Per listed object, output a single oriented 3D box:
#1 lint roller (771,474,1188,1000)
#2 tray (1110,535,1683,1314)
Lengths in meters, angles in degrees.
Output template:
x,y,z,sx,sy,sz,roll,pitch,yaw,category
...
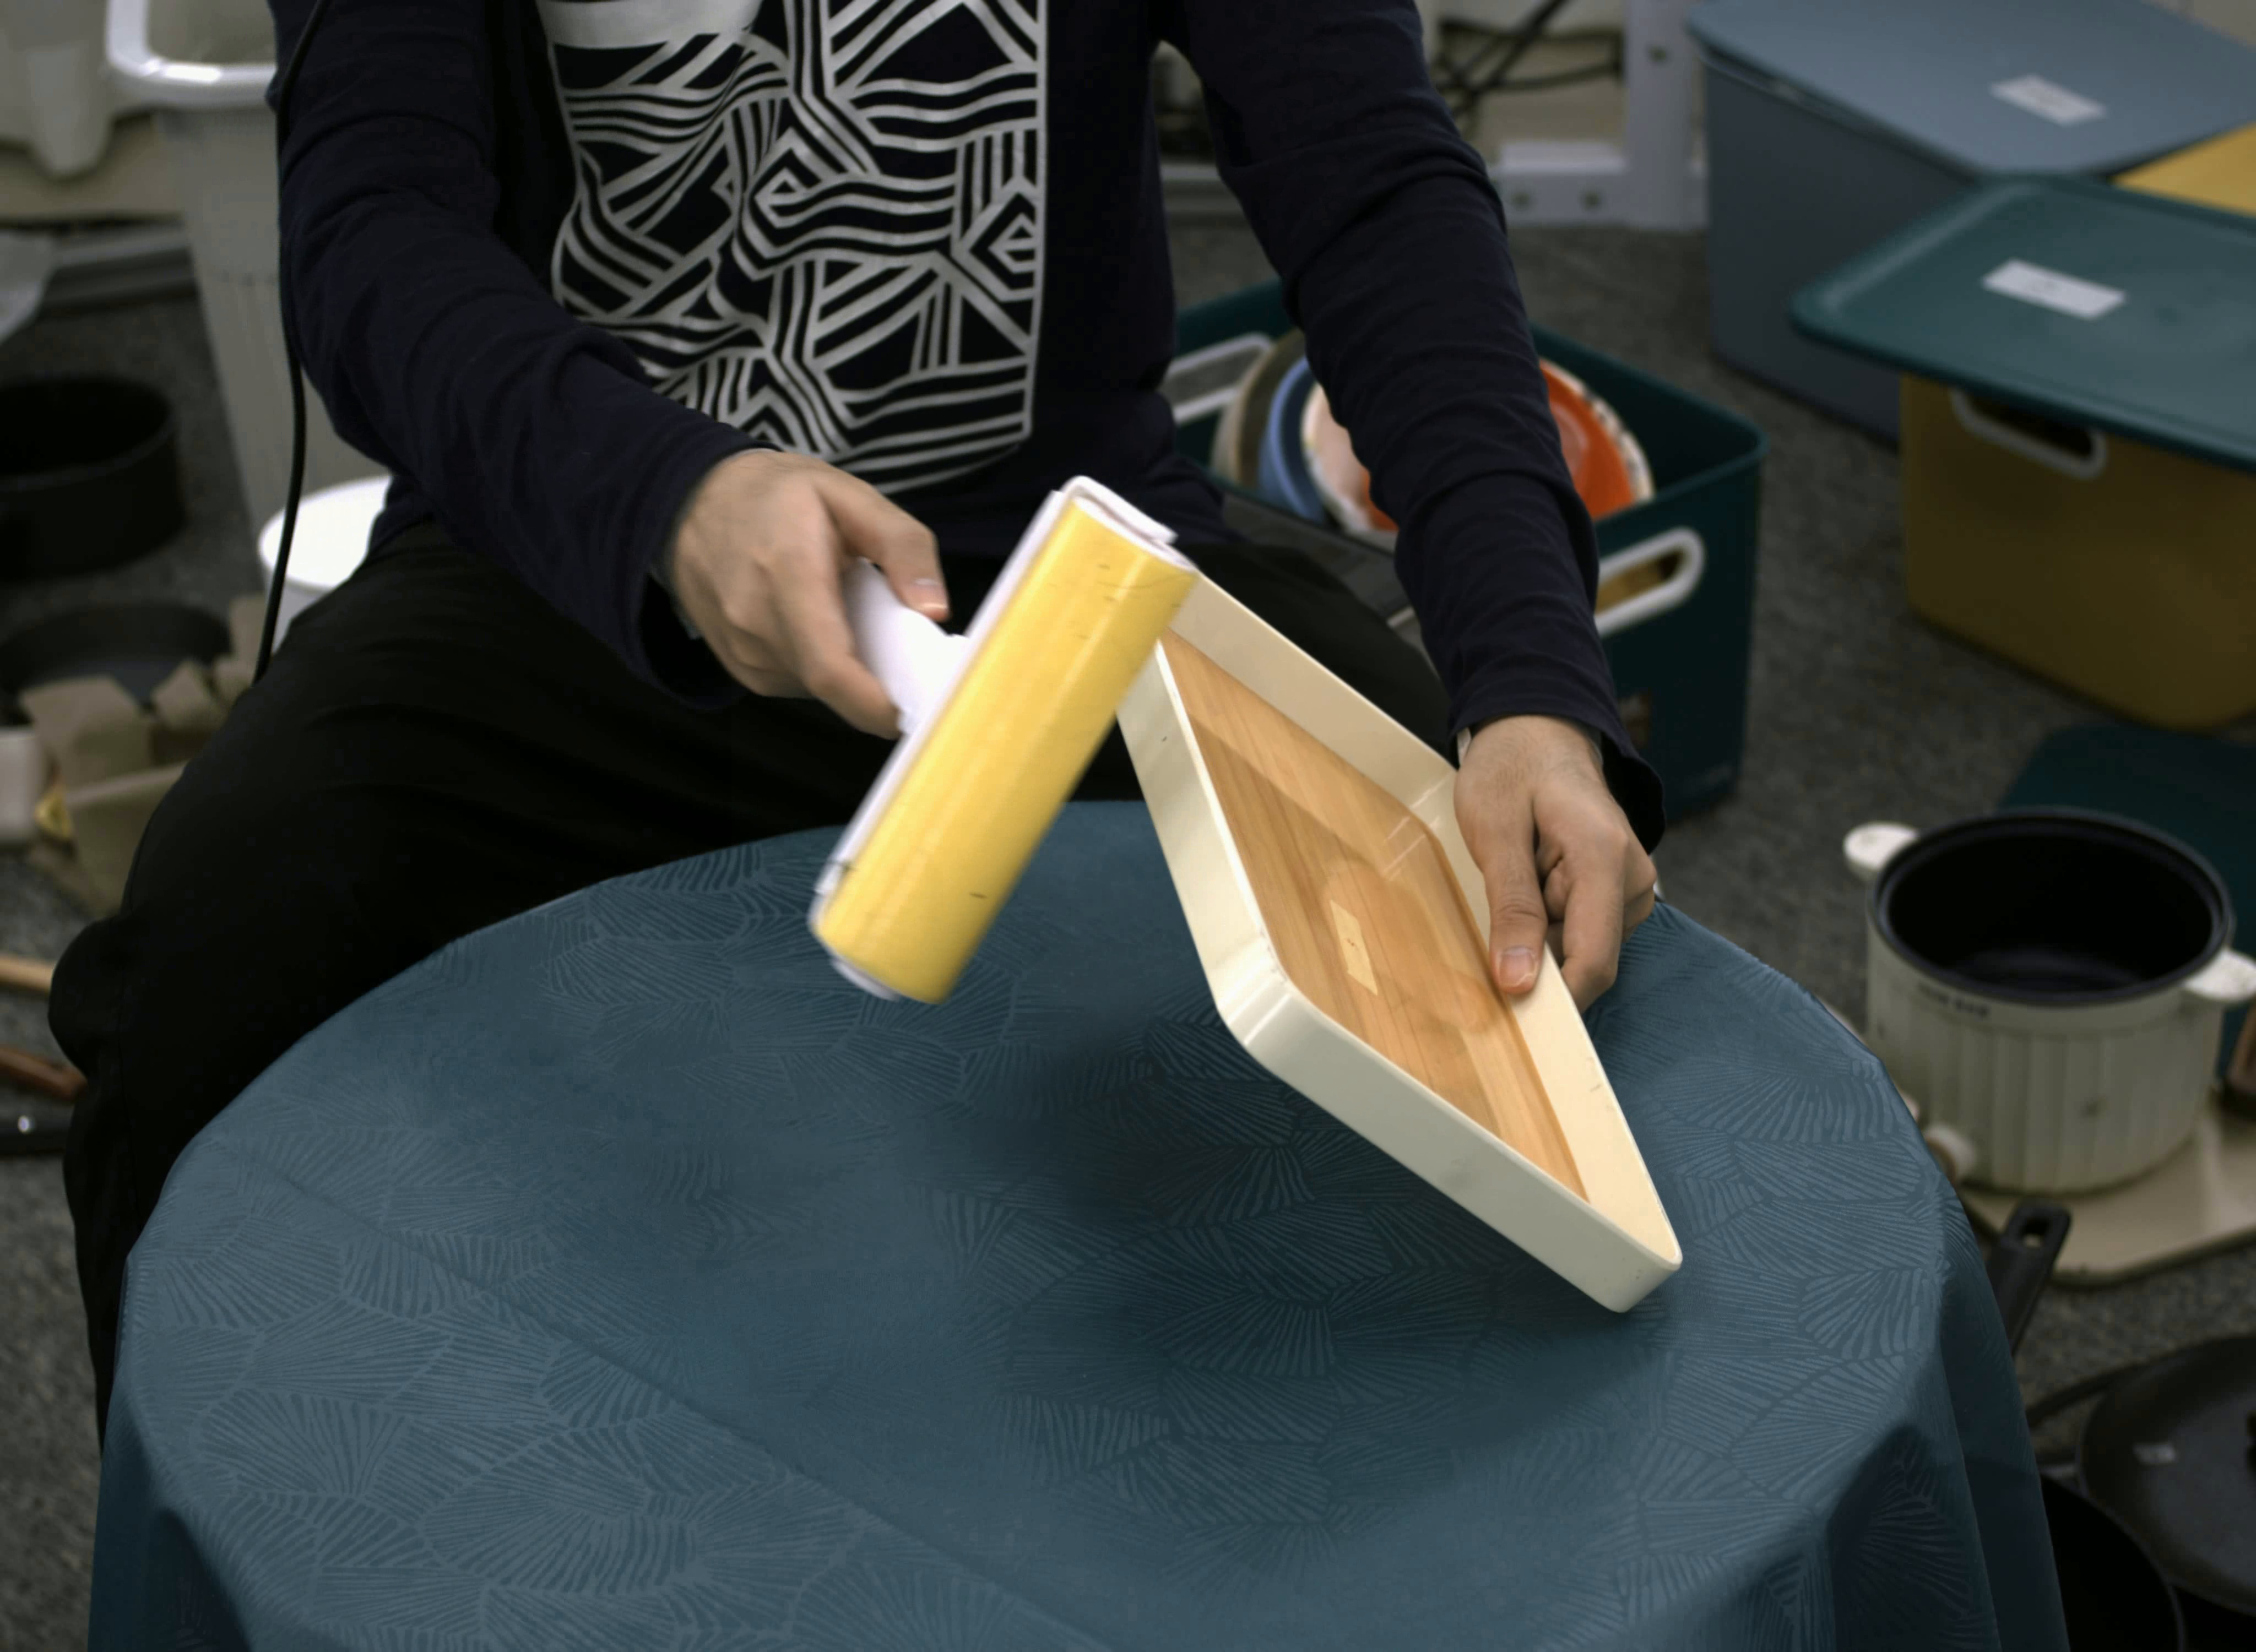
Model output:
x,y,z,sx,sy,sz,roll,pitch,yaw,category
-0.079,-0.053,1.824,0.051,0.174,0.193,29,5,-41,lint roller
0.077,0.025,1.853,0.027,0.190,0.304,-44,30,16,tray
